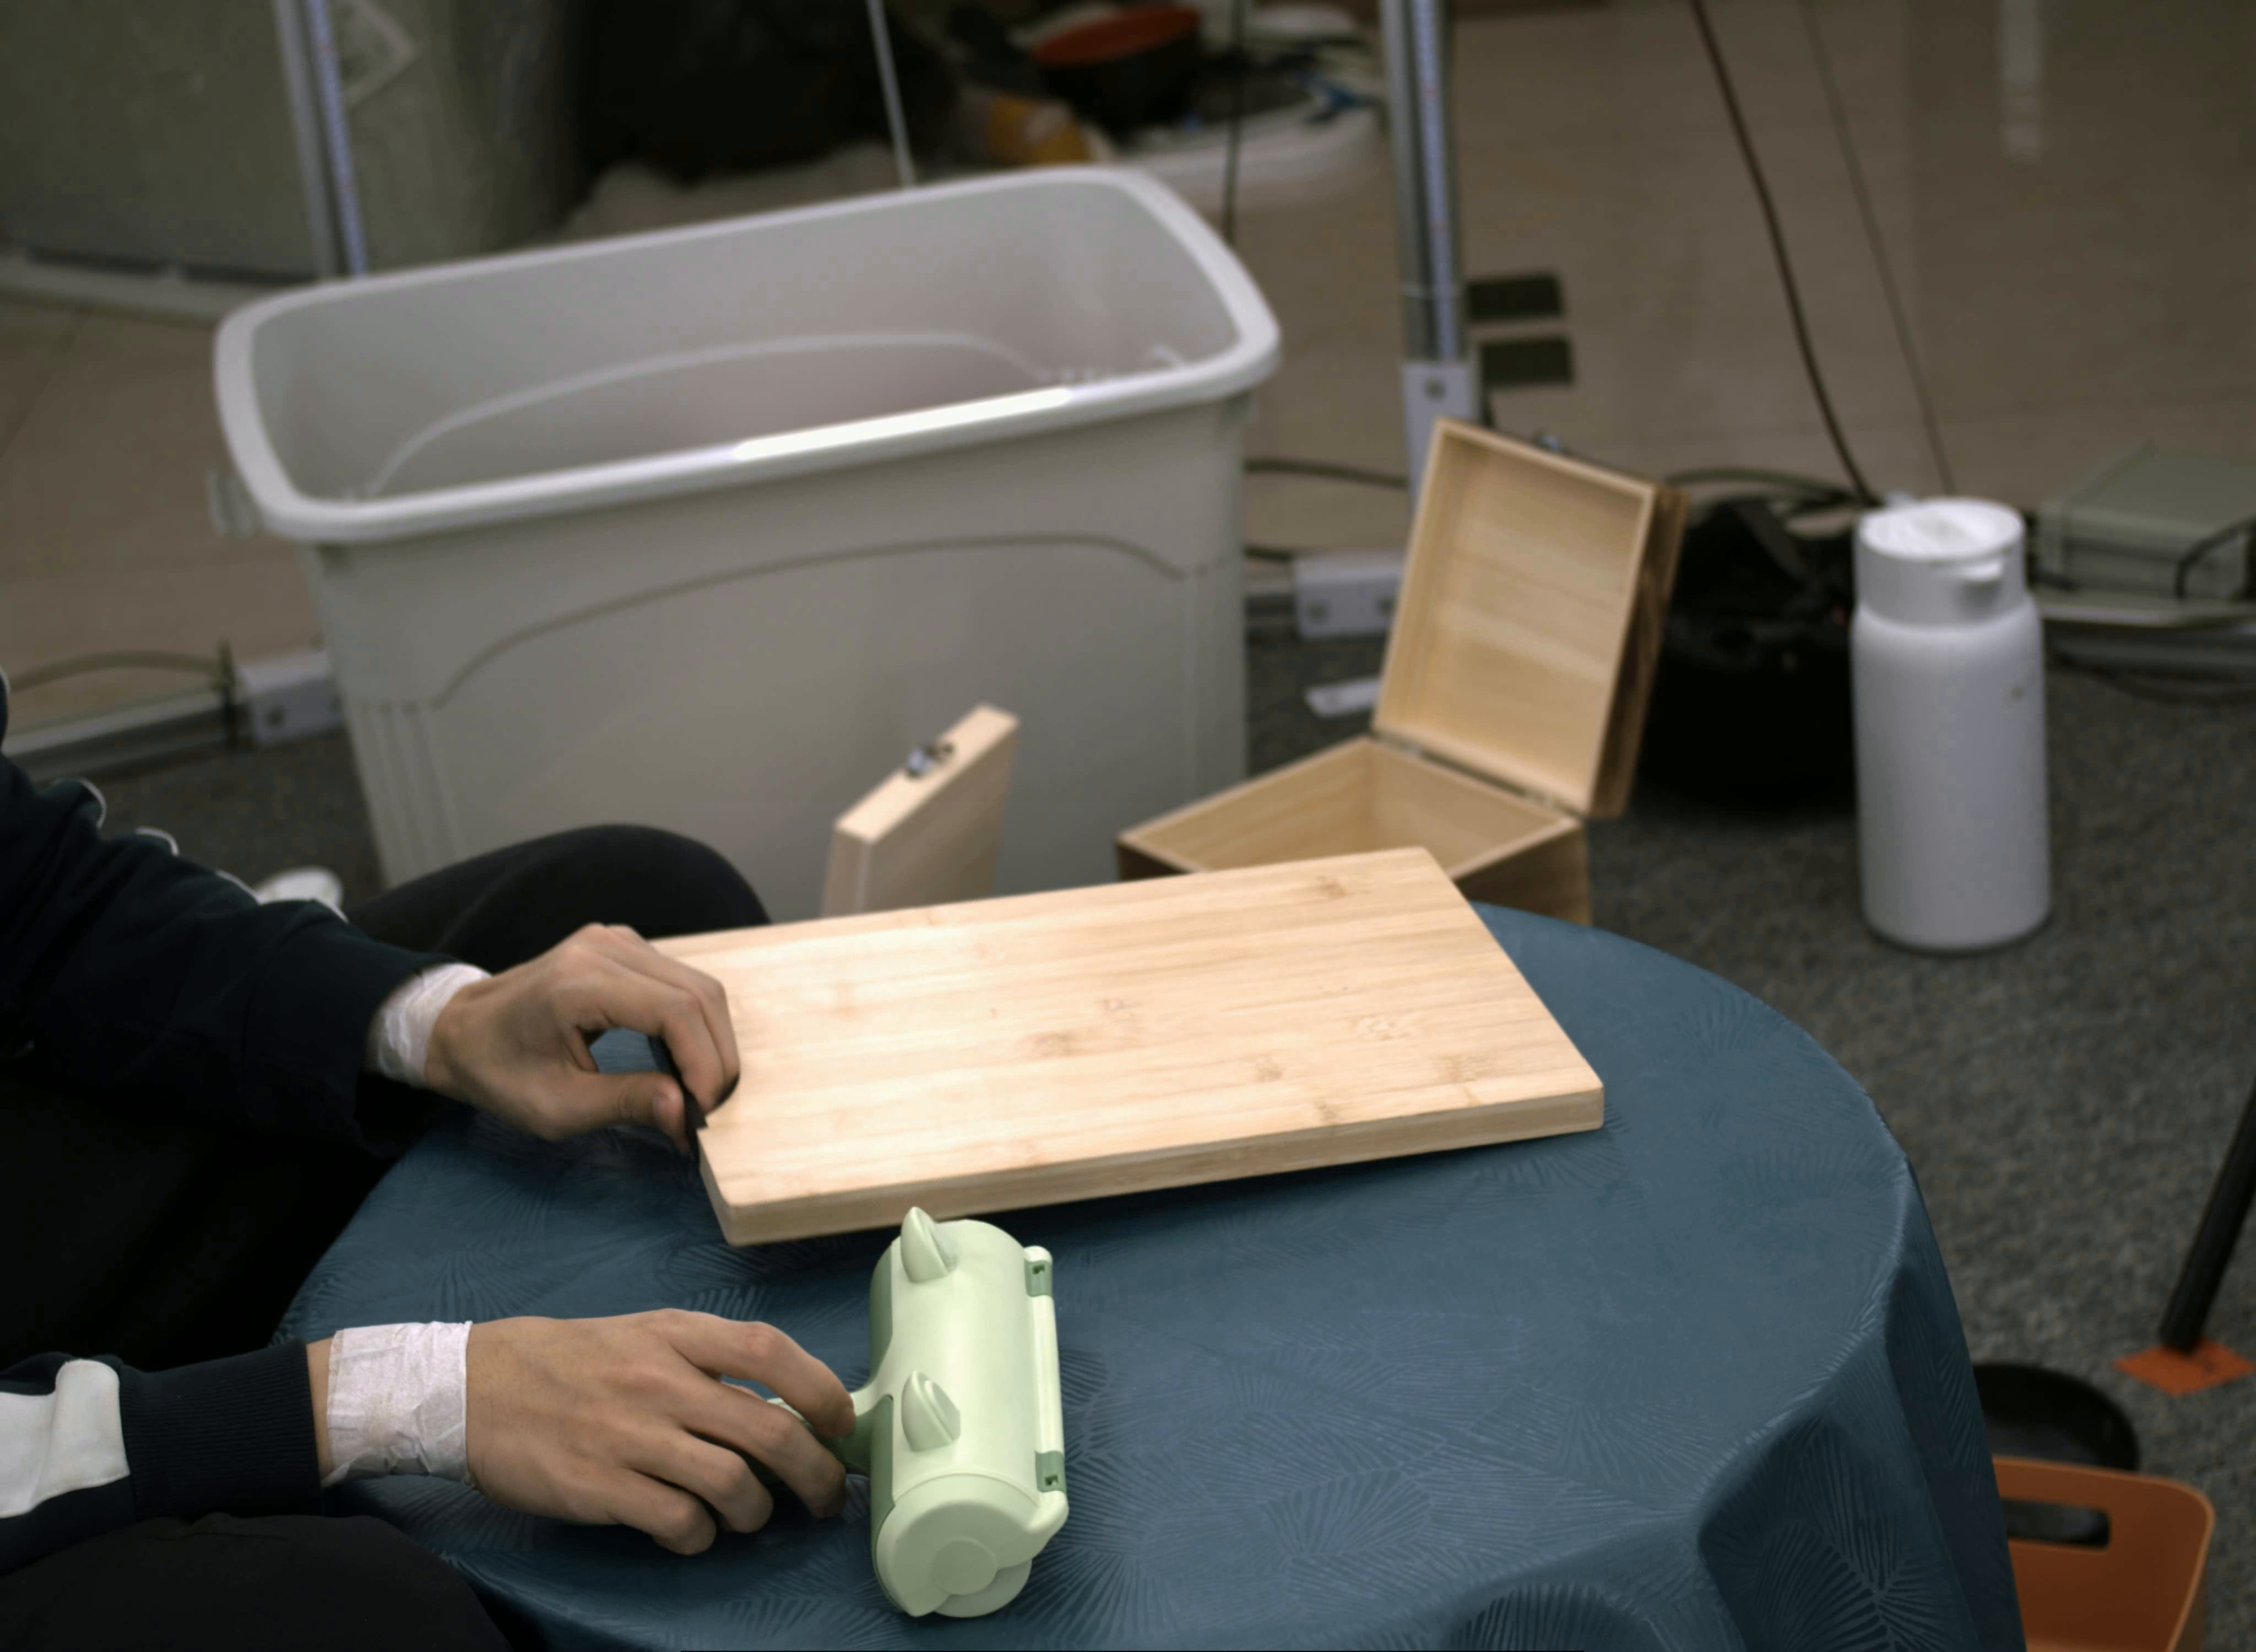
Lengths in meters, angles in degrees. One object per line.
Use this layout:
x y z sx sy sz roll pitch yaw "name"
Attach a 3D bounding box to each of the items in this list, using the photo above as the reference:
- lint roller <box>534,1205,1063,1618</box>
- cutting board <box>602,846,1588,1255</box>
-0.116 0.197 1.955 0.183 0.083 0.195 -2 25 -1 "lint roller"
-0.016 0.084 2.219 0.348 0.024 0.247 -8 24 -13 "cutting board"
